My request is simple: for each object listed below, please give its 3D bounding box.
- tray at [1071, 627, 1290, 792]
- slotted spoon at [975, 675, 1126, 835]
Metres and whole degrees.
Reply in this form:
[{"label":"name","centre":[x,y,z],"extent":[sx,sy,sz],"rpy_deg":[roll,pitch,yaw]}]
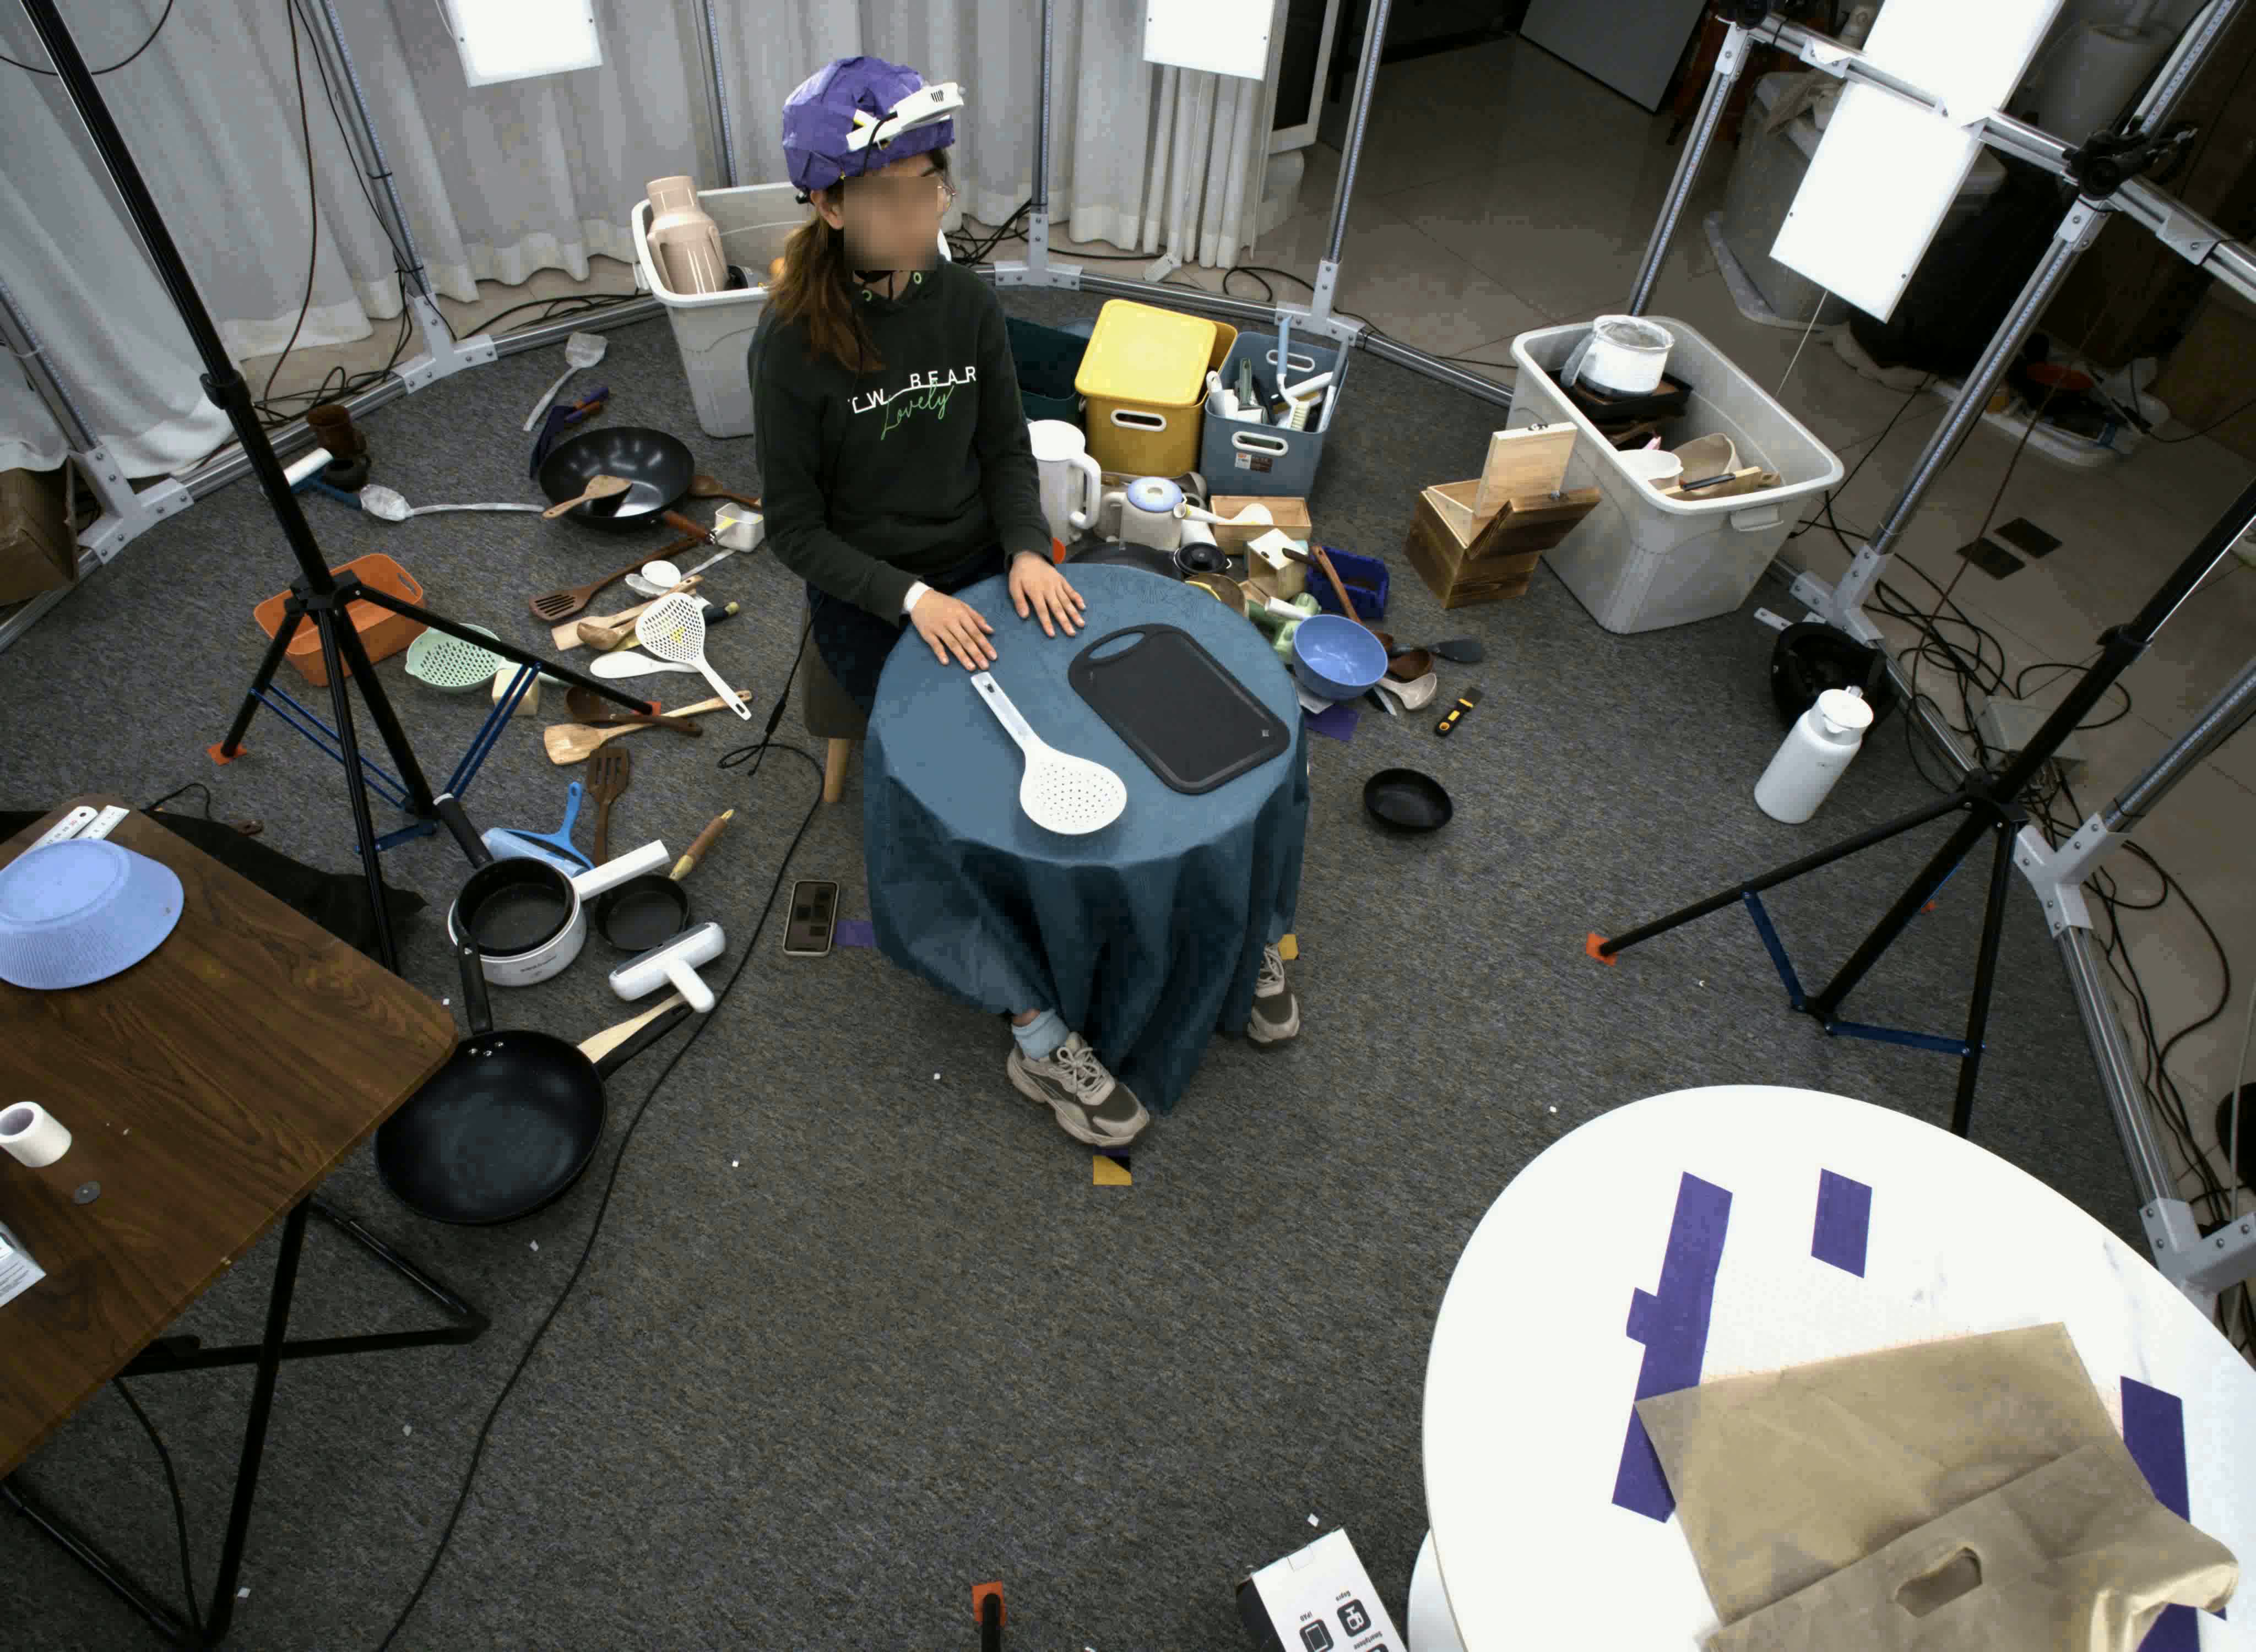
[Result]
[{"label":"tray","centre":[0.067,-0.179,1.840],"extent":[0.212,0.009,0.332],"rpy_deg":[-26,55,-25]},{"label":"slotted spoon","centre":[-0.124,-0.101,1.734],"extent":[0.136,0.044,0.357],"rpy_deg":[-19,52,-22]}]
